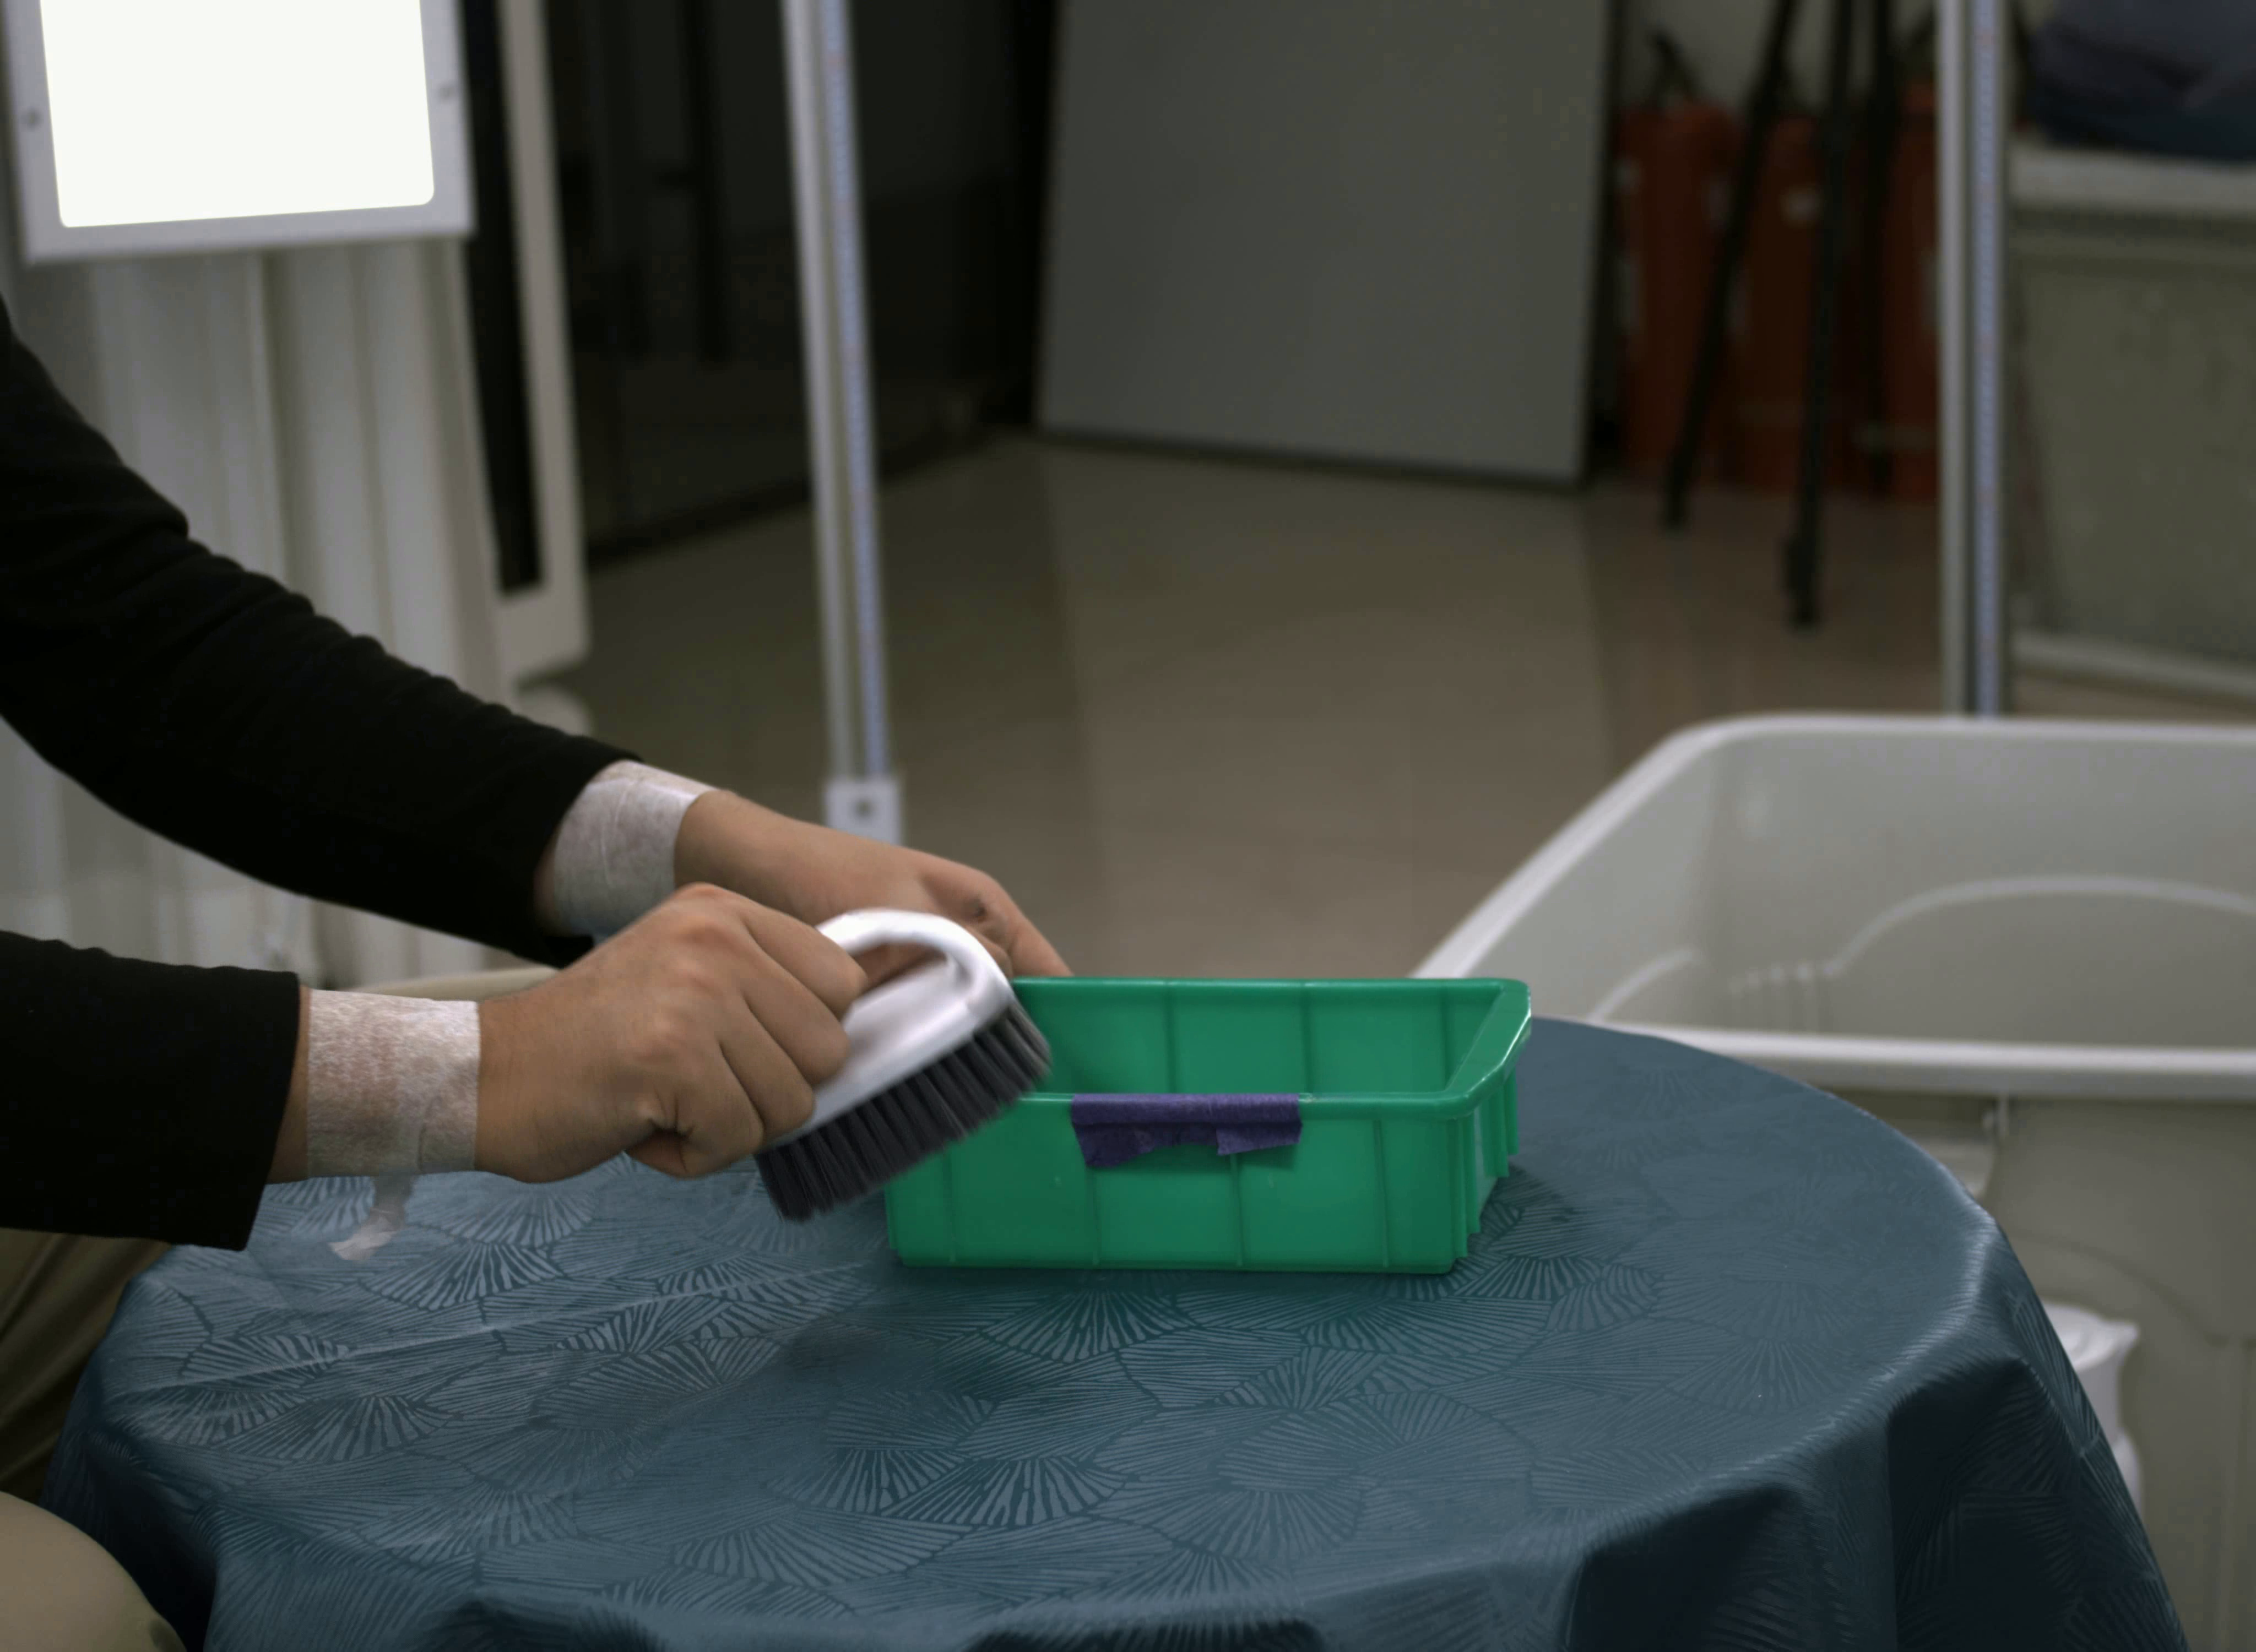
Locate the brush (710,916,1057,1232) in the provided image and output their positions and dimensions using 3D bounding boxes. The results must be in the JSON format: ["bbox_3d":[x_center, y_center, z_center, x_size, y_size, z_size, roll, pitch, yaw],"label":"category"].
[{"bbox_3d":[-0.080,0.068,1.620,0.099,0.072,0.050,-27,21,6],"label":"brush"}]

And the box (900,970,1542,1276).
[{"bbox_3d":[0.028,0.095,1.735,0.209,0.066,0.138,0,16,13],"label":"box"}]
